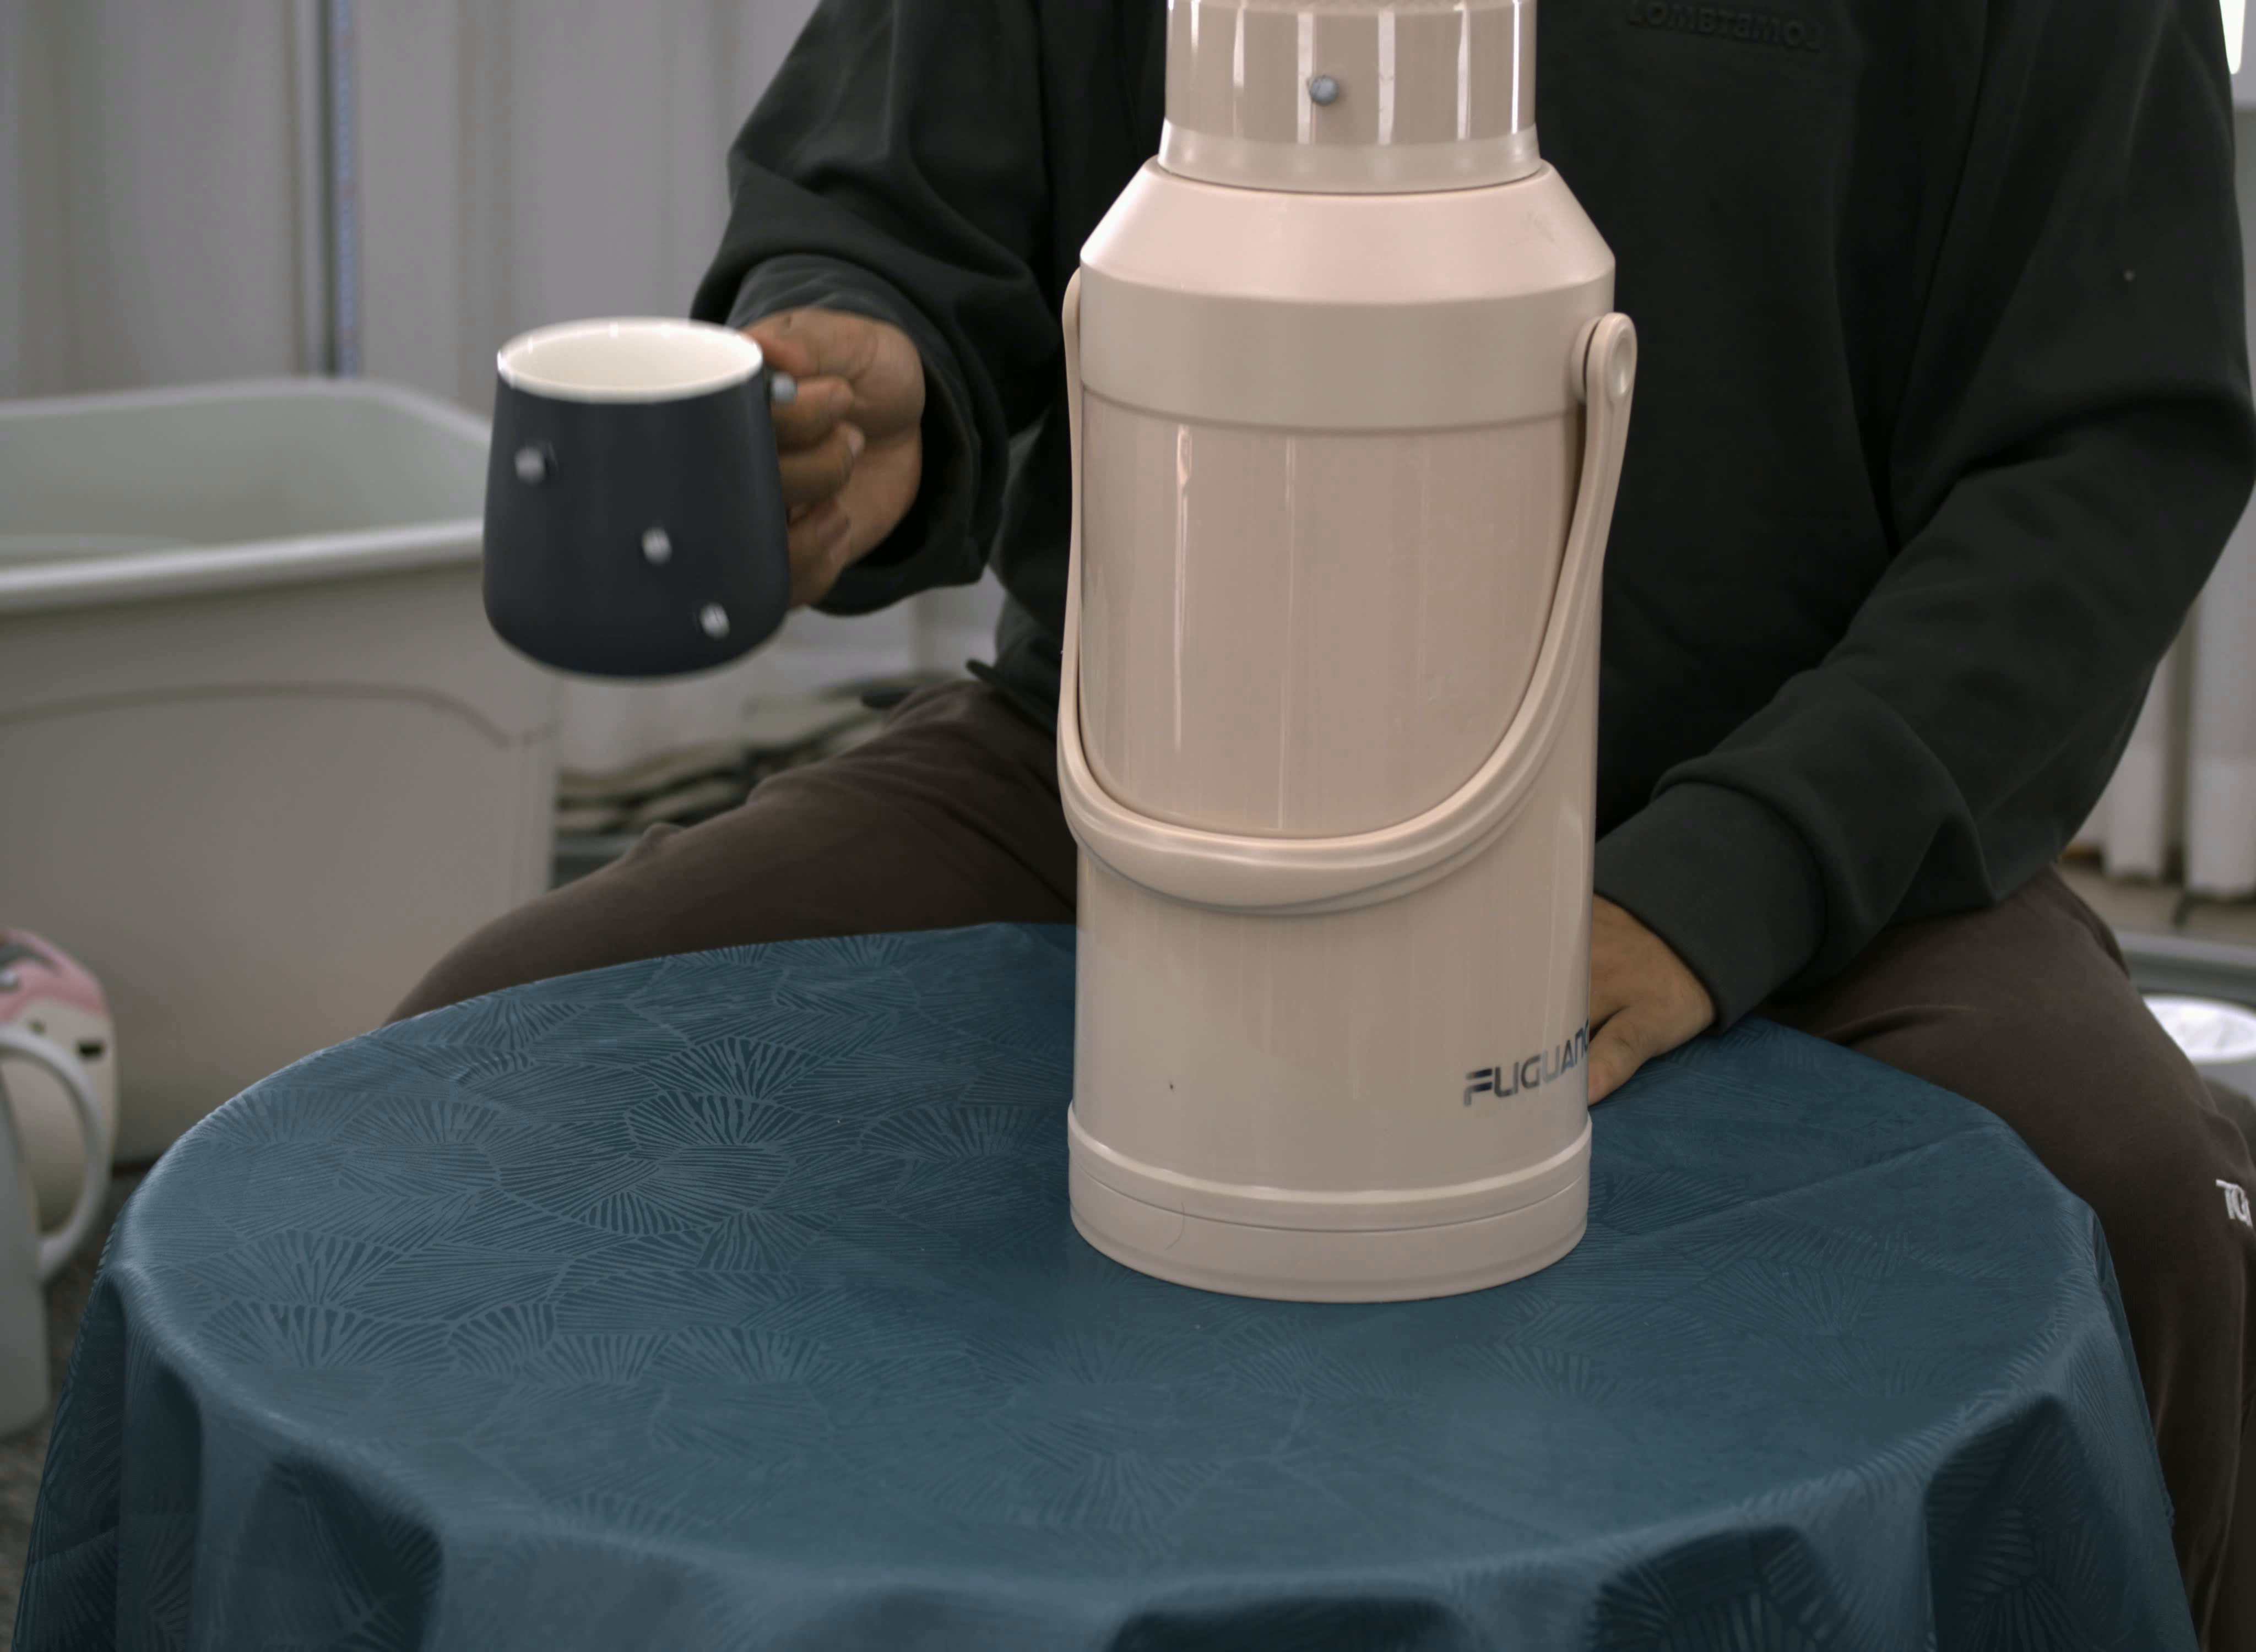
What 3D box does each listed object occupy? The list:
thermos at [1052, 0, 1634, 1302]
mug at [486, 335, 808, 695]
[{"bbox_3d":[0.069,-0.076,1.566,0.173,0.410,0.207,8,18,25],"label":"thermos"},{"bbox_3d":[-0.139,-0.098,1.591,0.092,0.091,0.123,14,26,32],"label":"mug"}]
